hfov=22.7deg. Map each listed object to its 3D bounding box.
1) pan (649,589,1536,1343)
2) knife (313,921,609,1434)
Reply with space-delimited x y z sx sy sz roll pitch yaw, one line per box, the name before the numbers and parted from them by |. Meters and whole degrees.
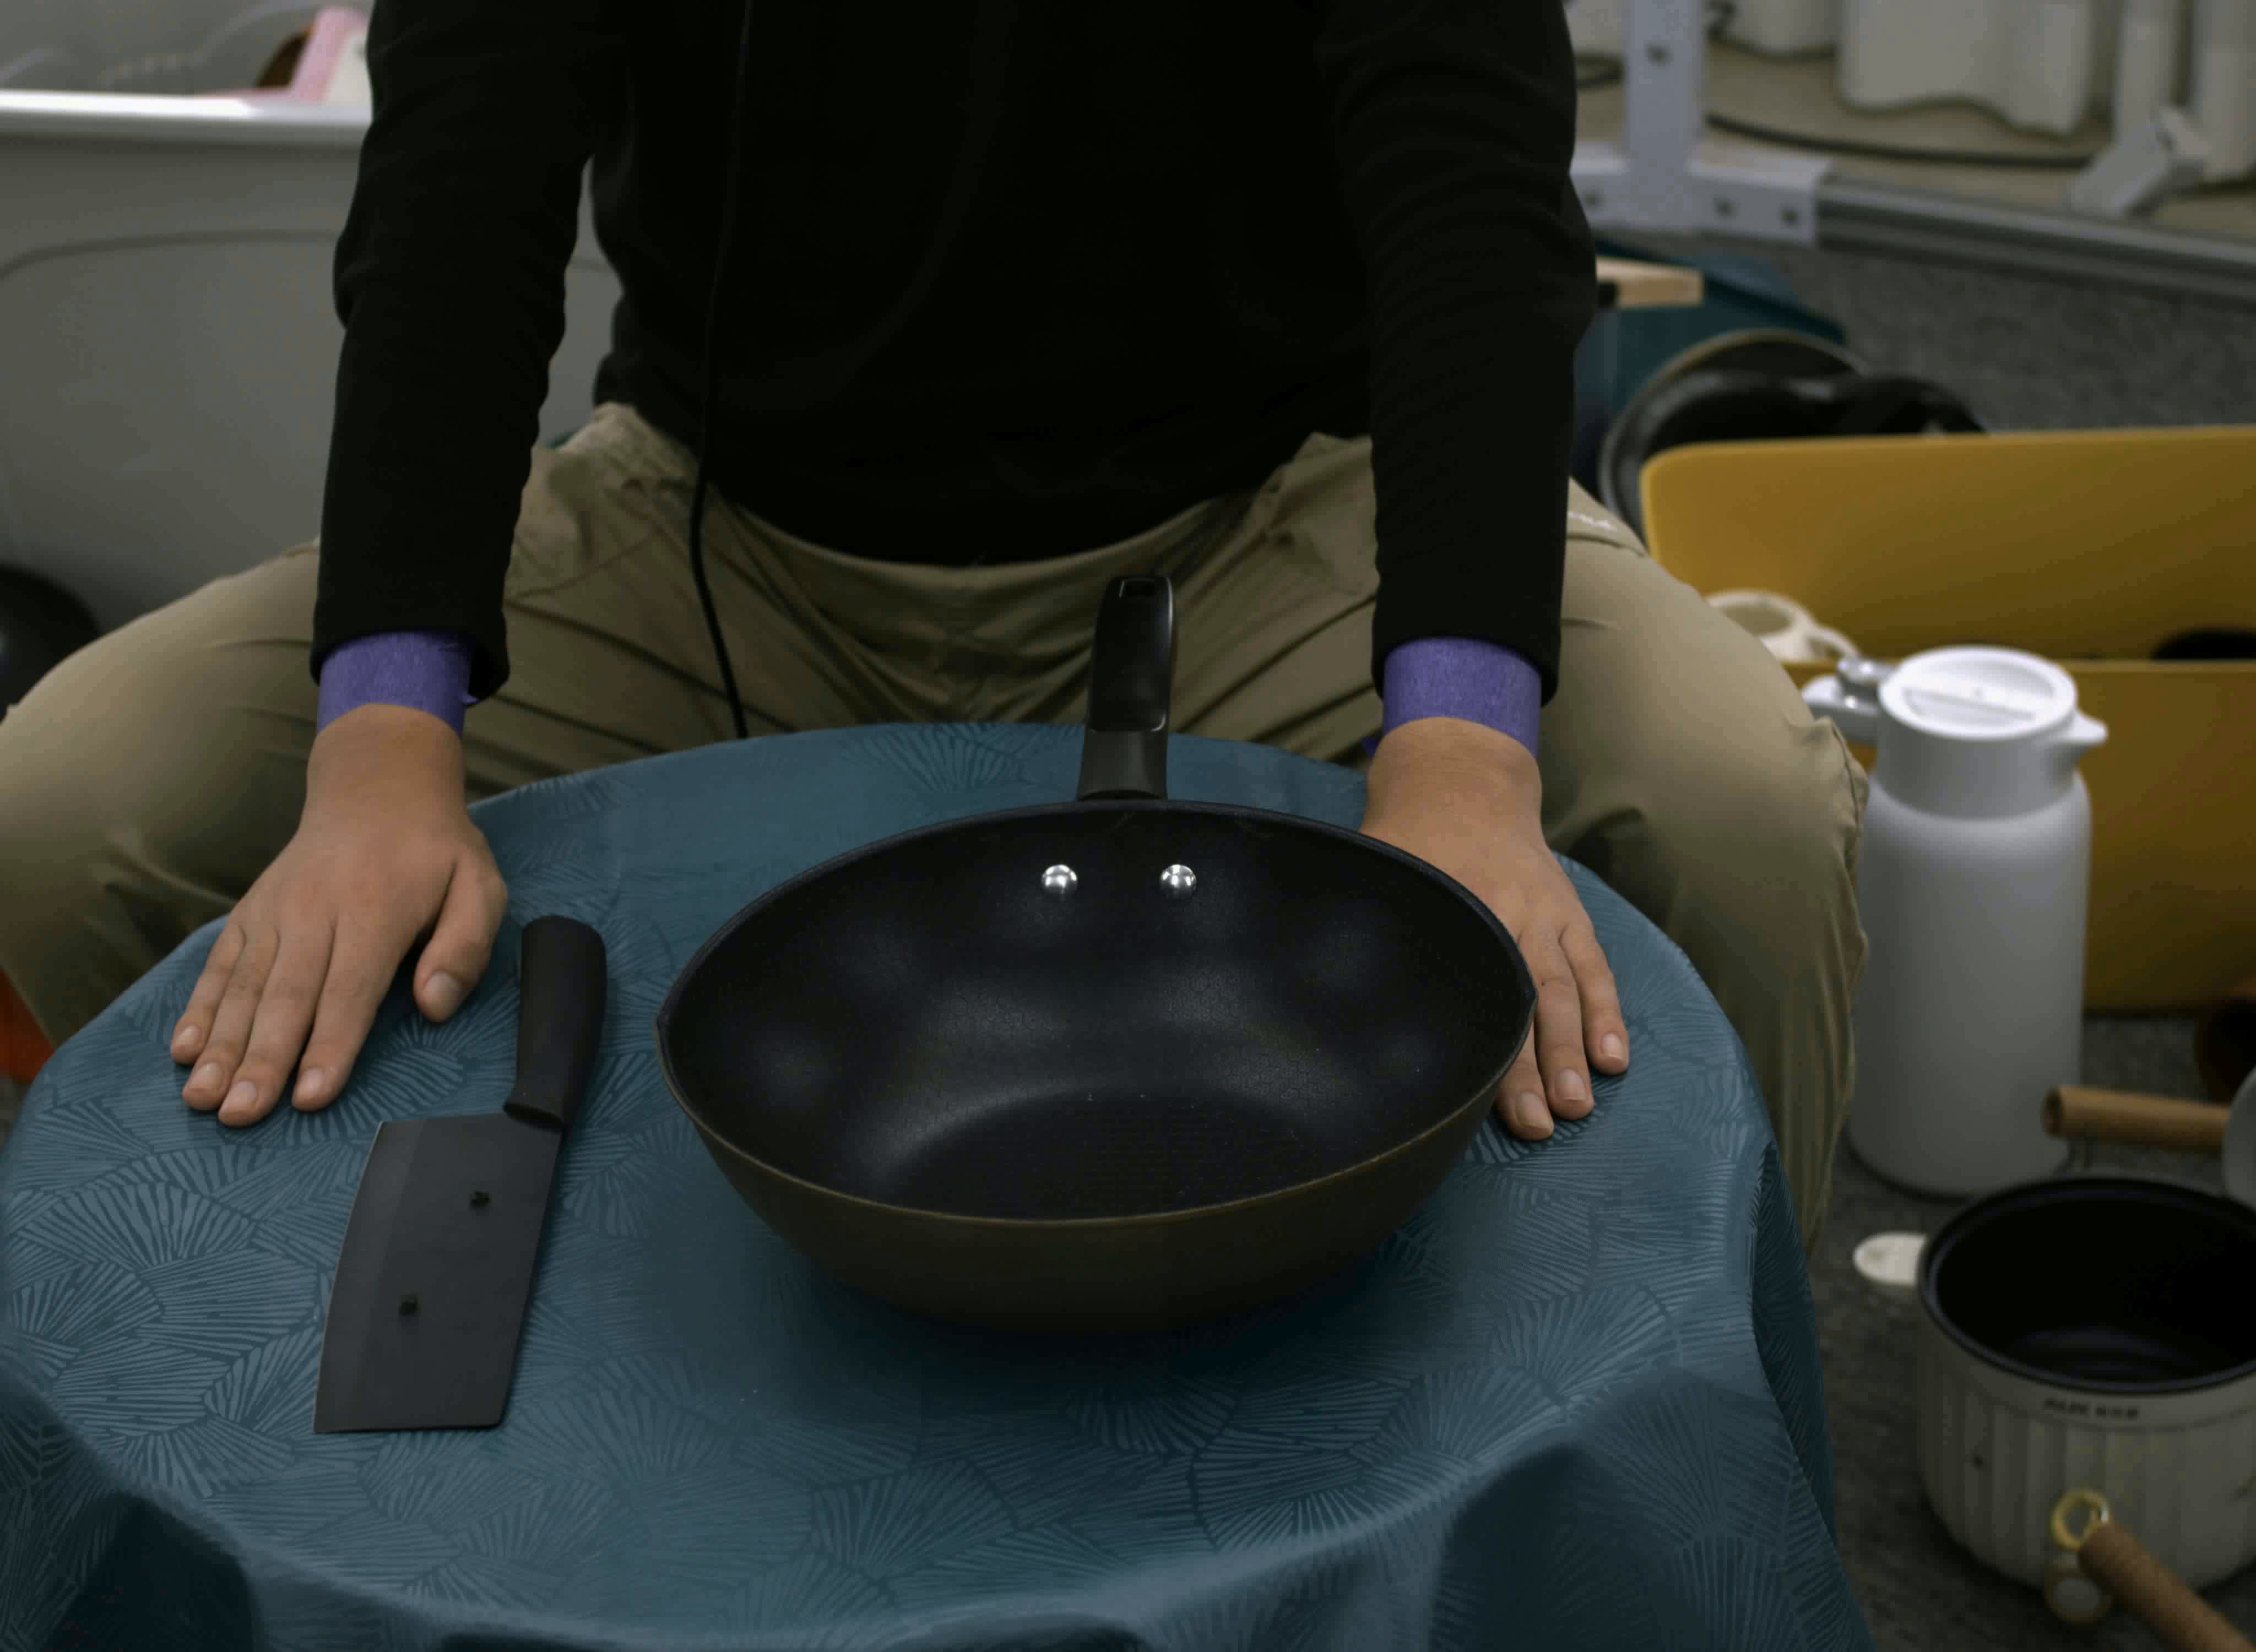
pan | -0.005 0.049 1.911 0.286 0.086 0.470 -1 27 4
knife | -0.218 0.115 1.879 0.080 0.020 0.307 -1 29 7
